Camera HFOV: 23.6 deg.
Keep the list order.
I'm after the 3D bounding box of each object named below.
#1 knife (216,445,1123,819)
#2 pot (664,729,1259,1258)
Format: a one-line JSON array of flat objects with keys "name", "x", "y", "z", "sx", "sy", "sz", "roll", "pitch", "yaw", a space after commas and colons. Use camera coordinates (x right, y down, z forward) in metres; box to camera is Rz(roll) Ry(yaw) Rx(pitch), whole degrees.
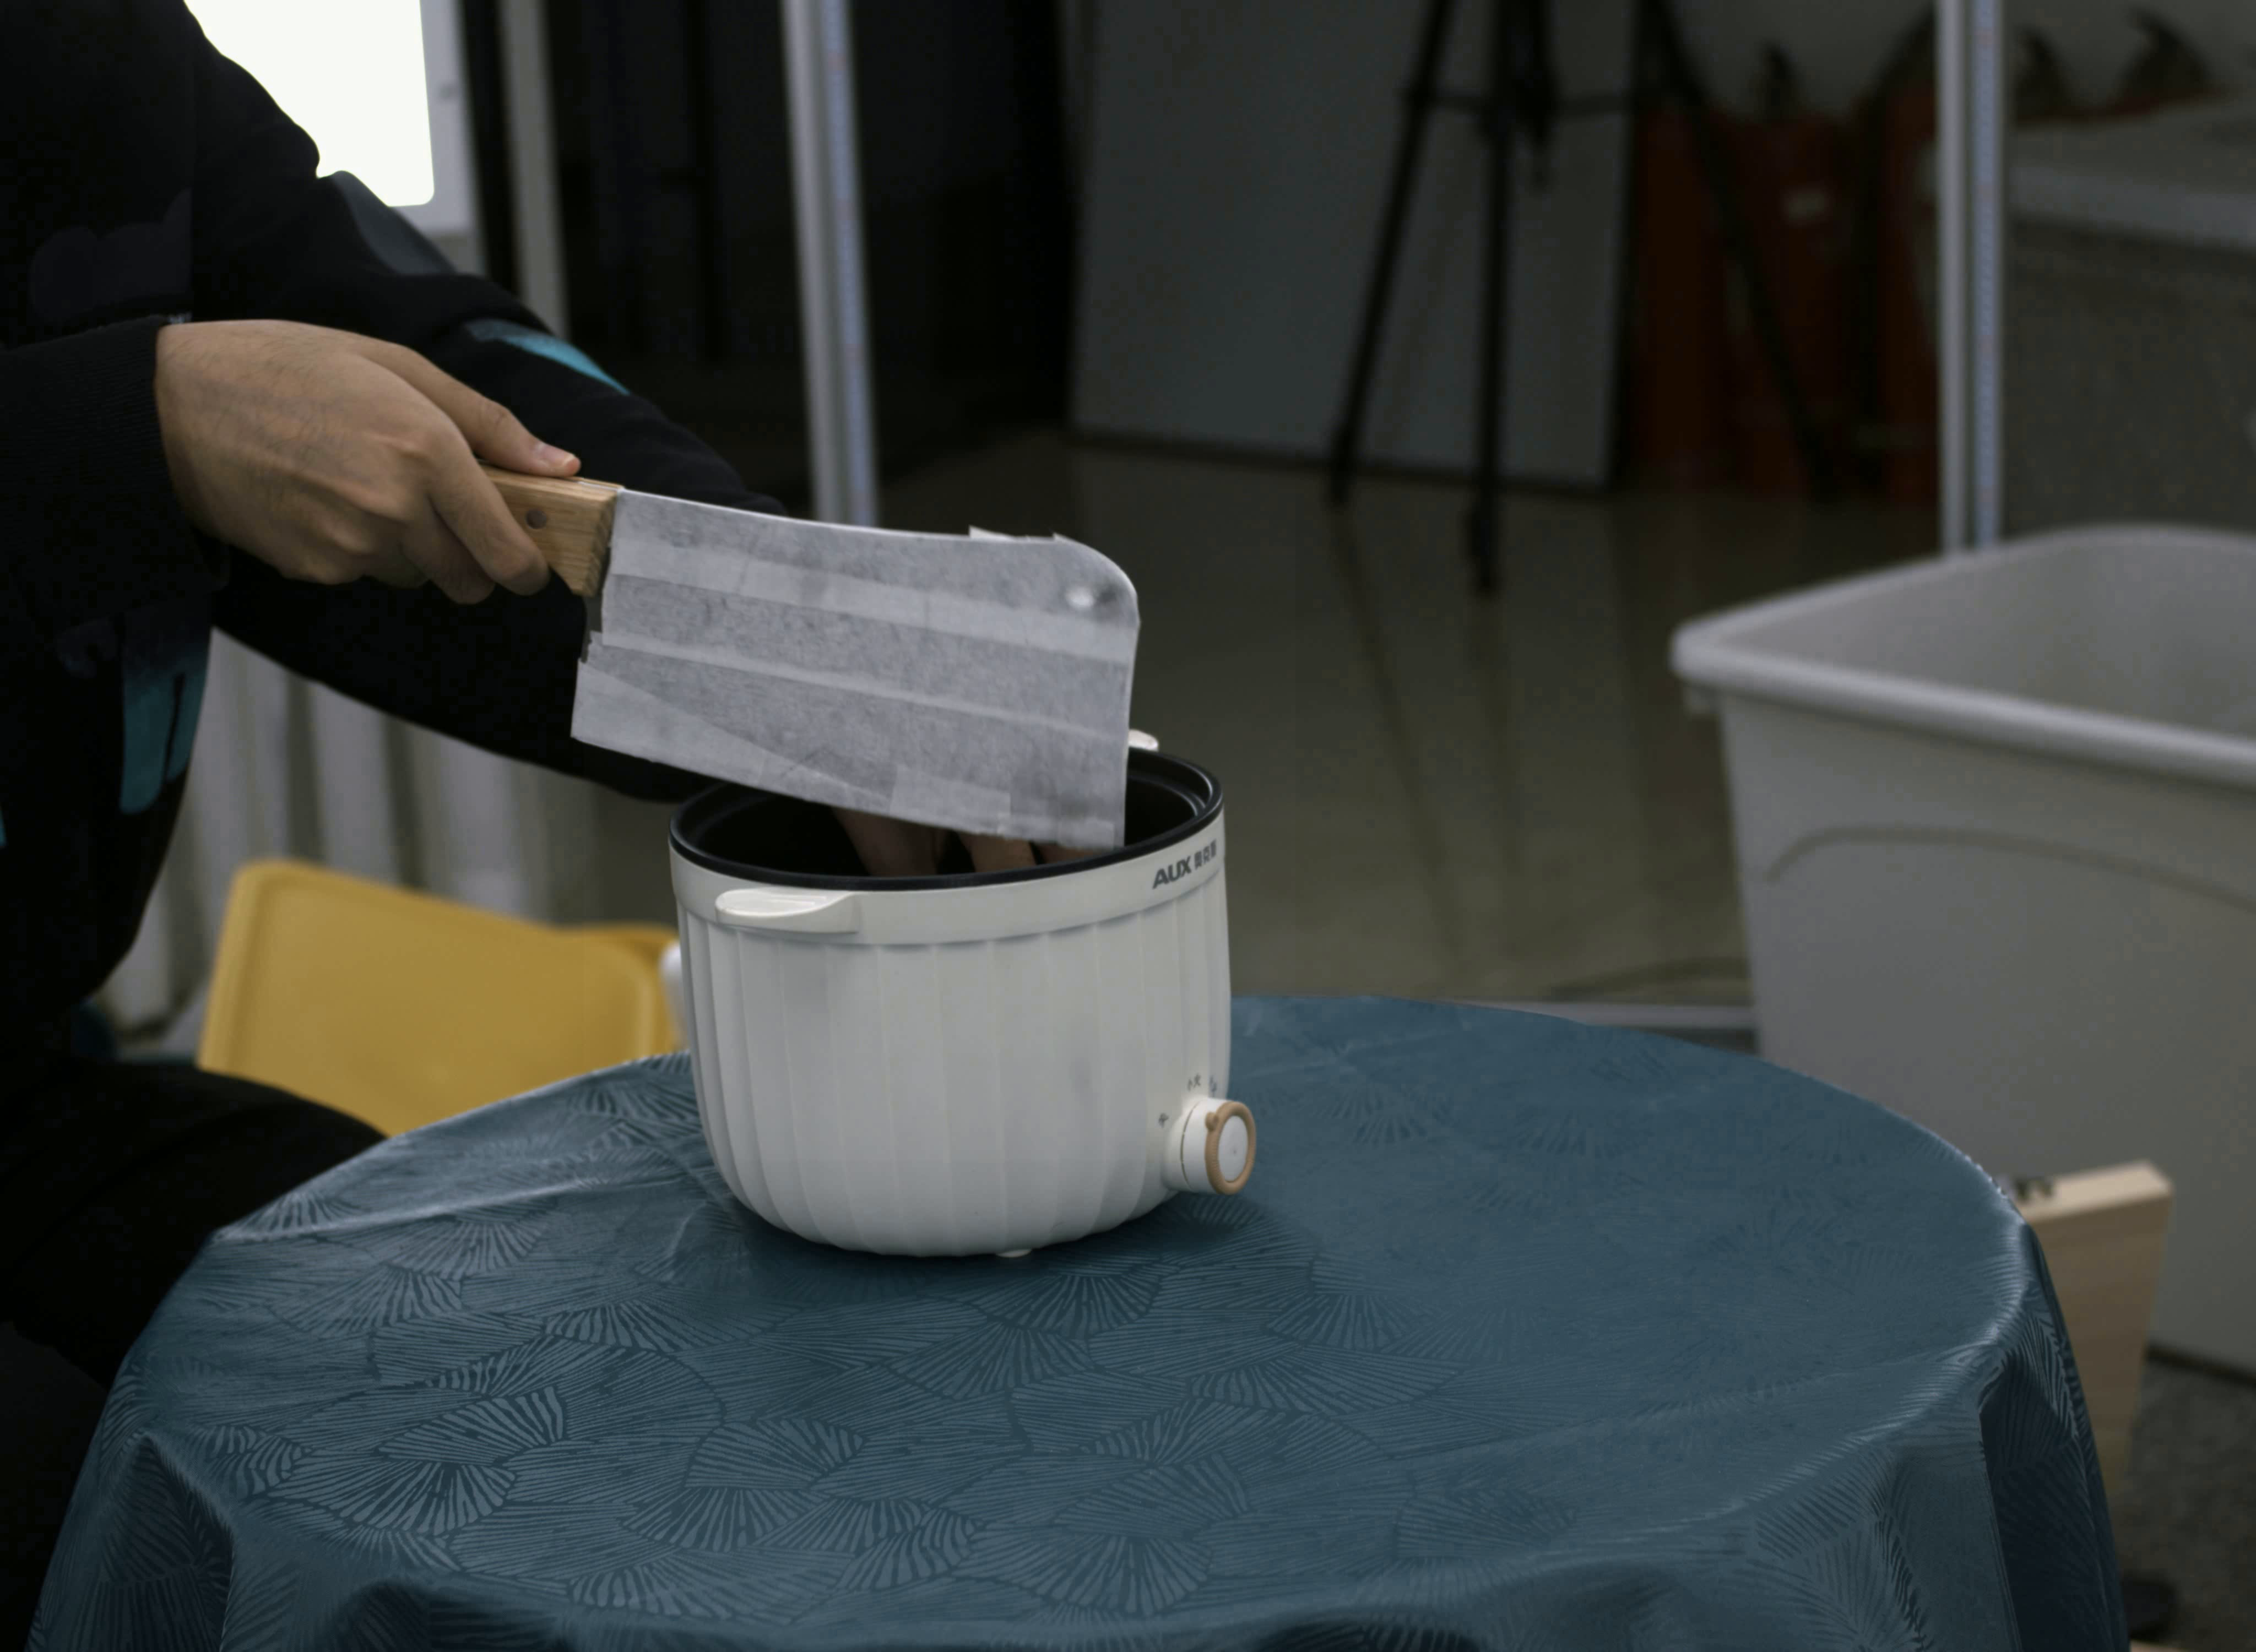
[{"name": "knife", "x": -0.144, "y": -0.075, "z": 1.721, "sx": 0.314, "sy": 0.115, "sz": 0.021, "roll": 14, "pitch": 16, "yaw": 12}, {"name": "pot", "x": -0.050, "y": 0.057, "z": 1.753, "sx": 0.191, "sy": 0.144, "sz": 0.237, "roll": 0, "pitch": 15, "yaw": 31}]
